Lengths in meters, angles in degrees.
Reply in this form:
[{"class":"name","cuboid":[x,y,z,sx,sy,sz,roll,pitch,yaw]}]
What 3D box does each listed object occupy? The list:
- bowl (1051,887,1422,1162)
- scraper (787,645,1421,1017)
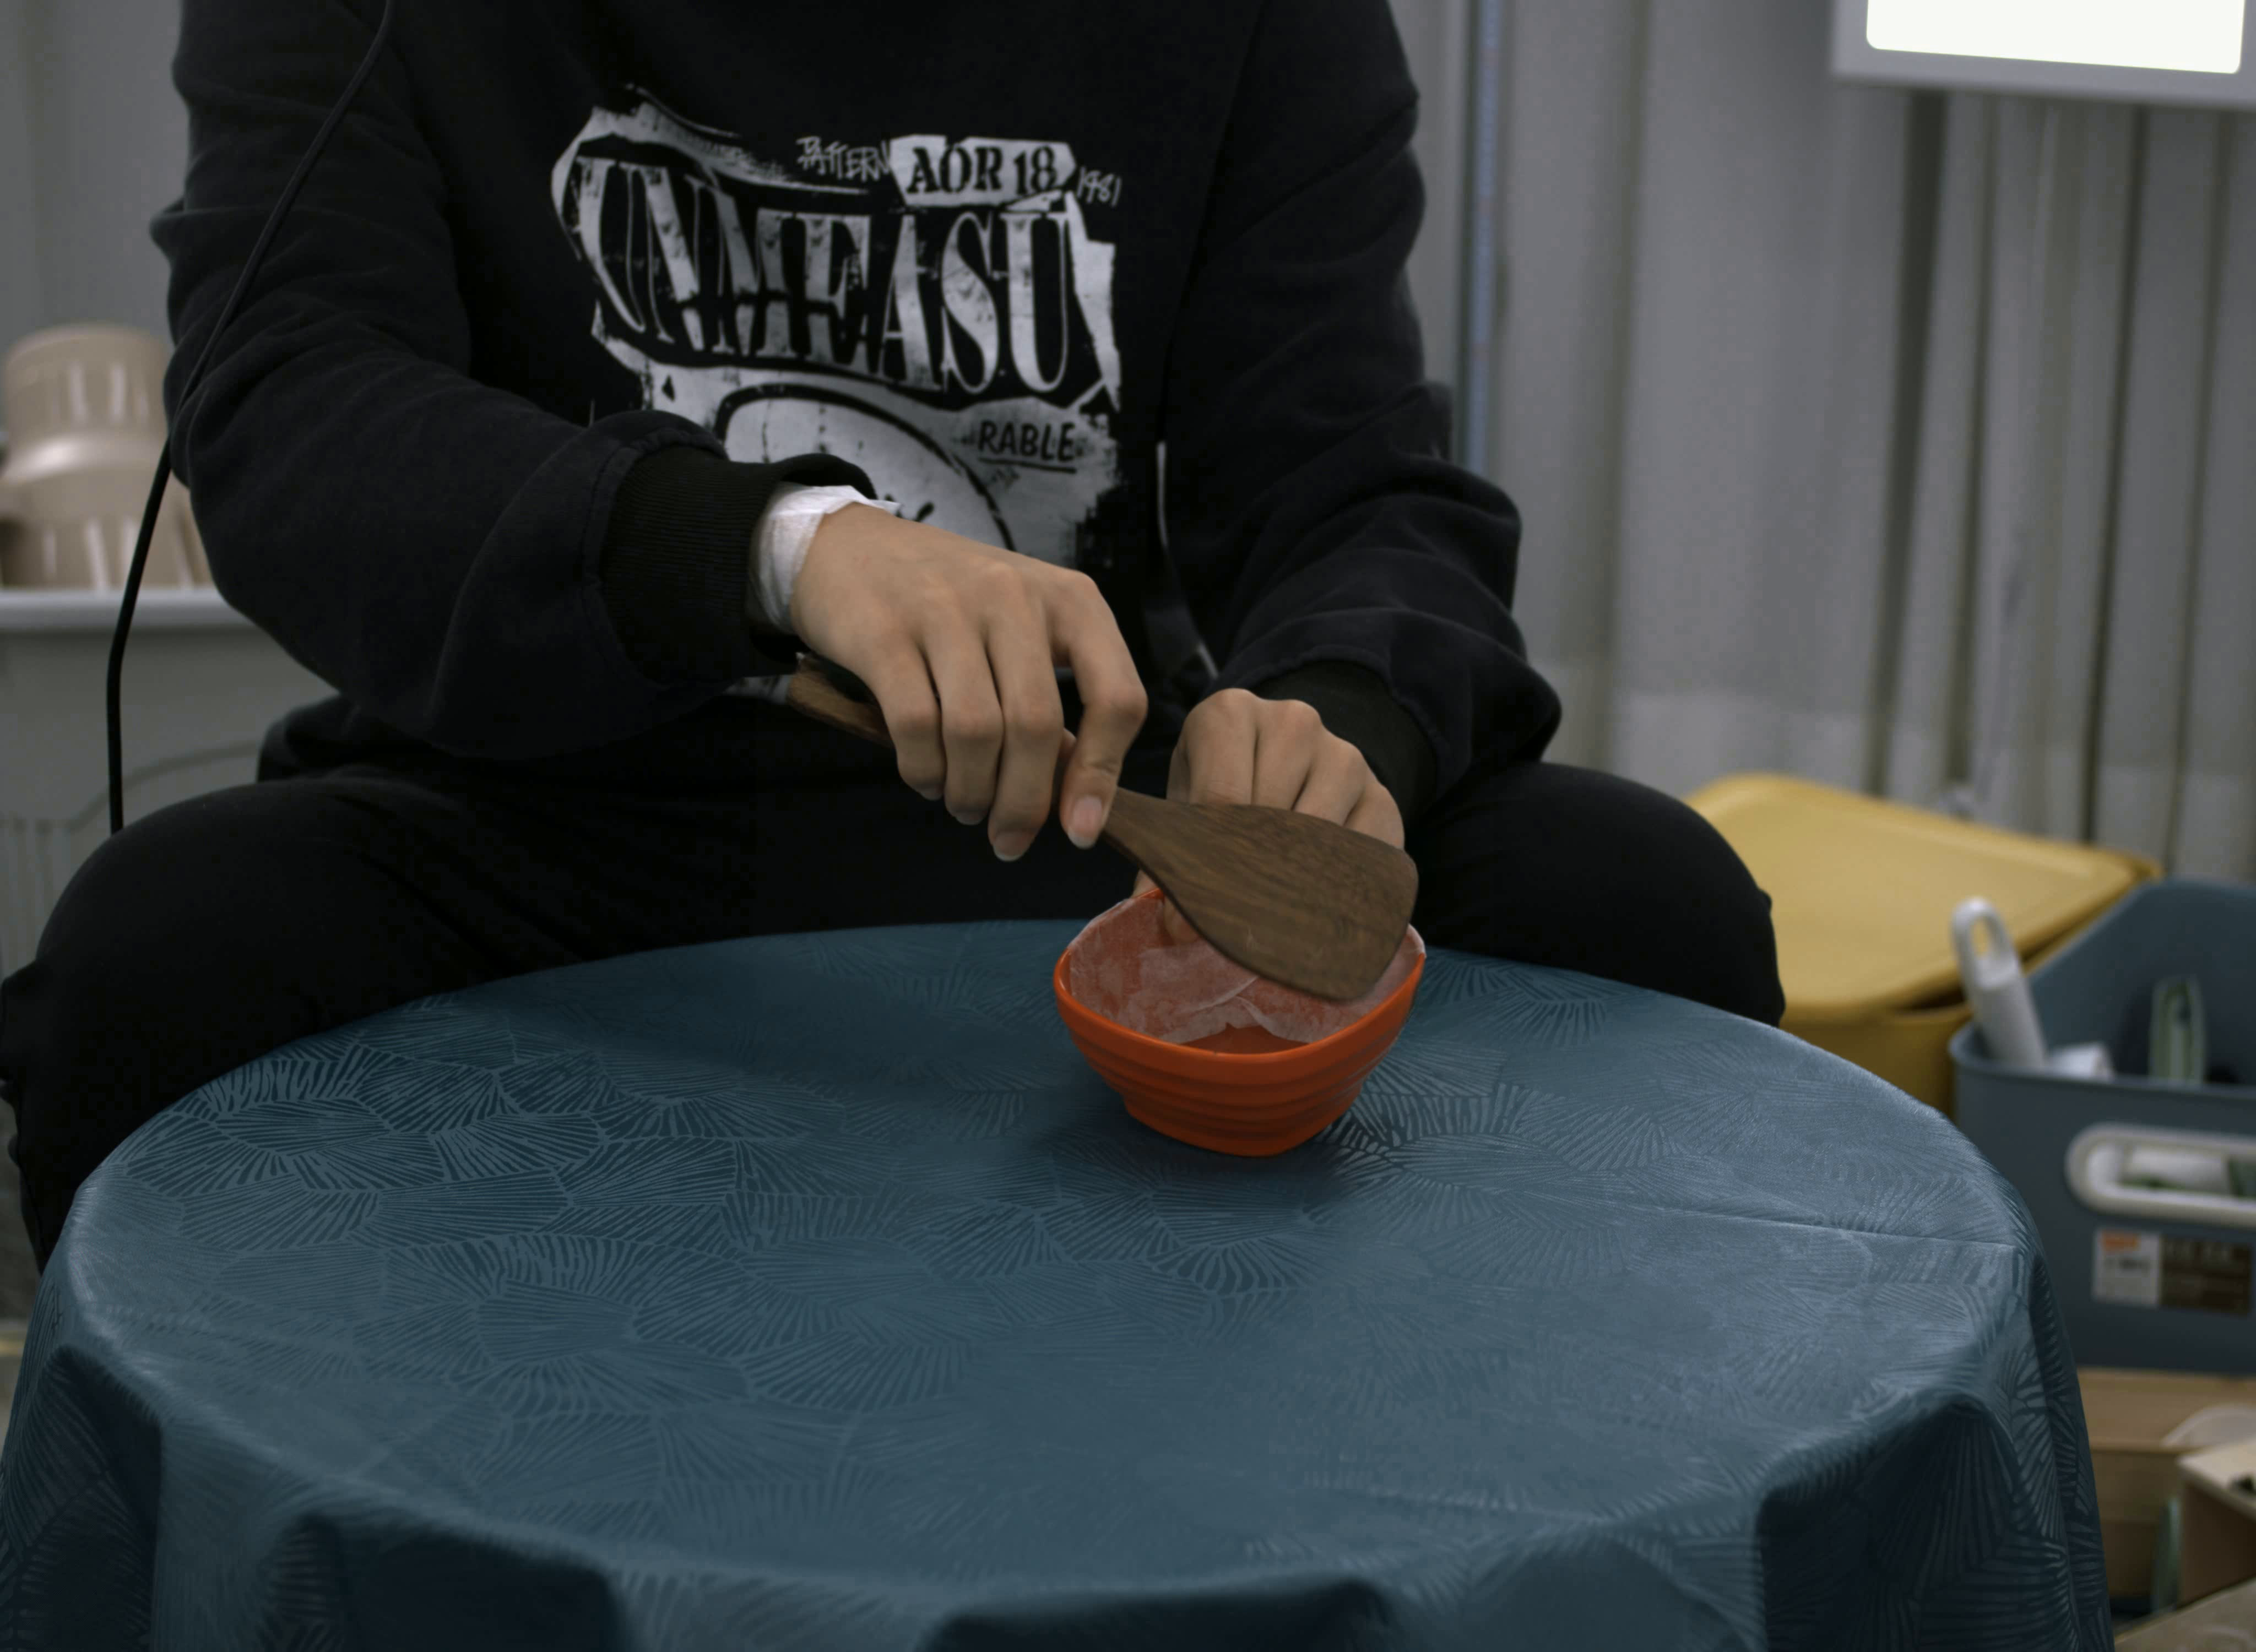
[{"class":"bowl","cuboid":[0.036,0.065,1.679,0.118,0.052,0.118,-2,30,2]},{"class":"scraper","cuboid":[-0.010,-0.005,1.660,0.211,0.011,0.075,26,50,1]}]
